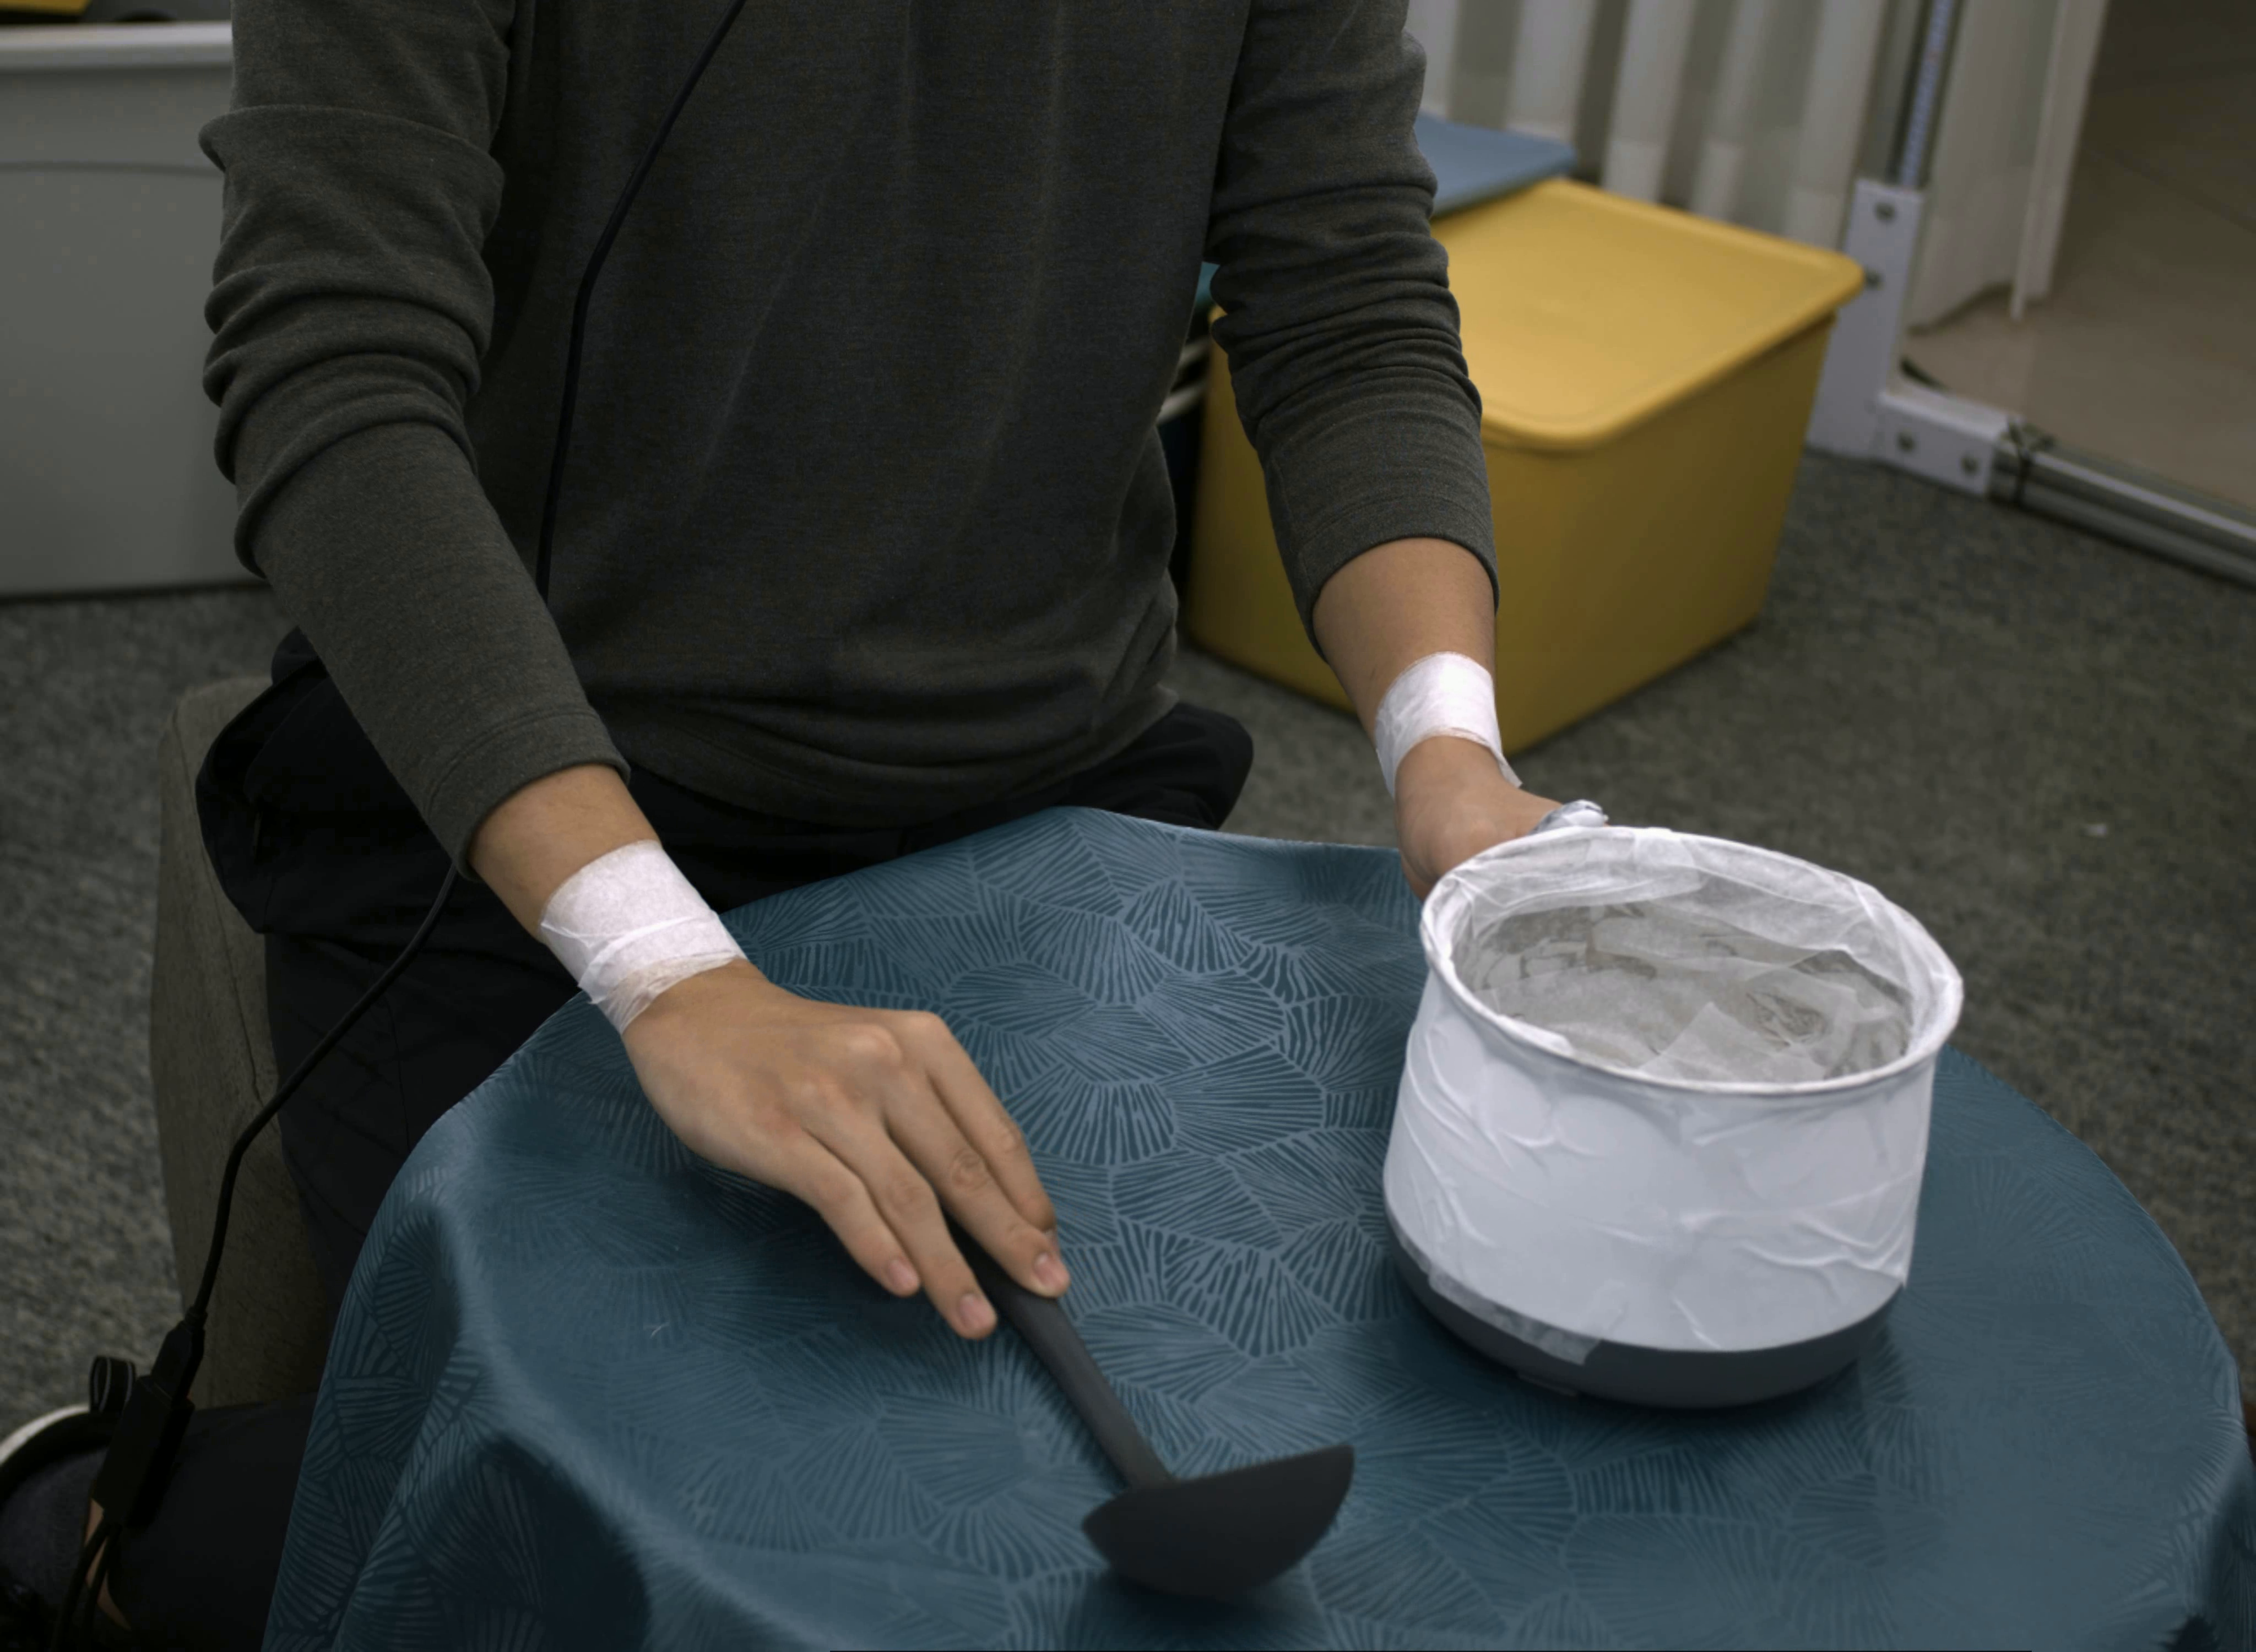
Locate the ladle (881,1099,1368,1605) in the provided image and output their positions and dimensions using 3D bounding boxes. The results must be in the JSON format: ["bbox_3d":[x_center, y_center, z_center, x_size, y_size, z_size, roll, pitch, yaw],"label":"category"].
[{"bbox_3d":[-0.019,0.148,1.685,0.085,0.064,0.317,-2,28,-23],"label":"ladle"}]

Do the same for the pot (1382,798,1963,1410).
[{"bbox_3d":[0.167,0.085,1.770,0.177,0.136,0.236,-3,28,-18],"label":"pot"}]
